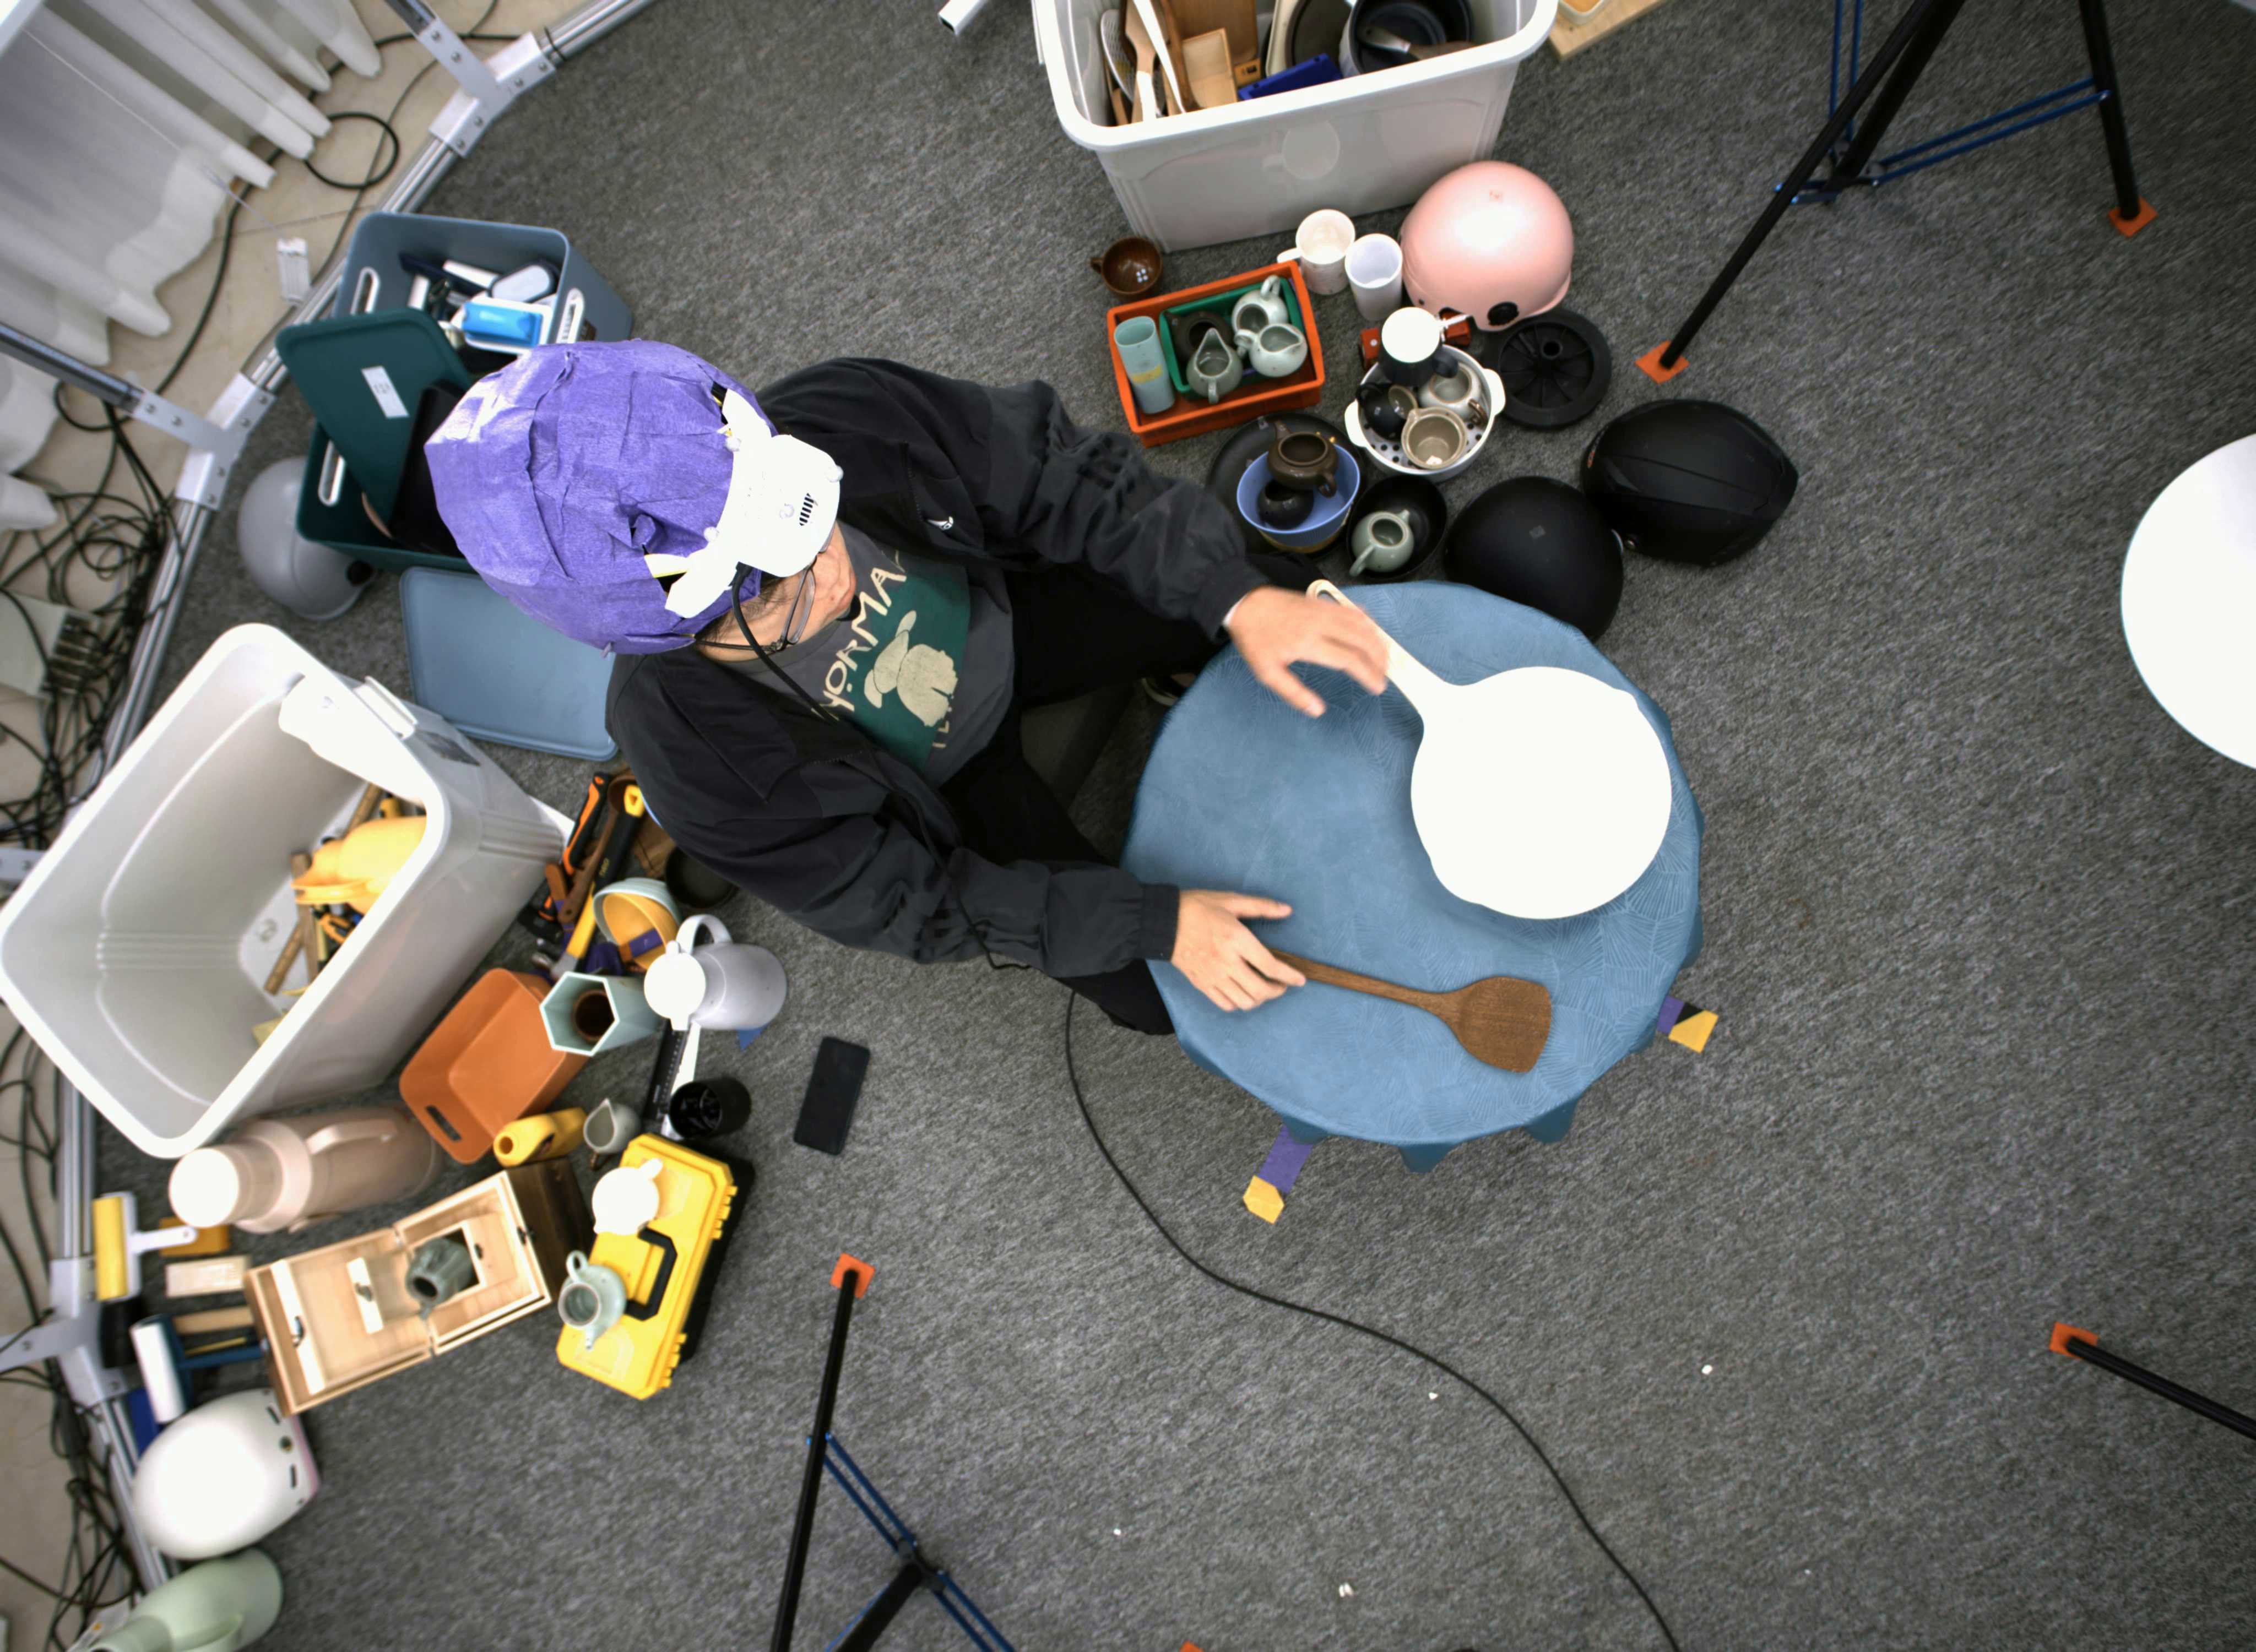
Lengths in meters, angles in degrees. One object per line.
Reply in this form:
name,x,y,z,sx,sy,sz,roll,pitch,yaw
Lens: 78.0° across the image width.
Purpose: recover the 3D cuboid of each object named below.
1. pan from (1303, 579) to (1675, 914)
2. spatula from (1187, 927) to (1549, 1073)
pan,0.350,-0.100,1.400,0.433,0.102,0.265,43,96,9
spatula,0.247,0.164,1.451,0.386,0.016,0.096,14,89,11
